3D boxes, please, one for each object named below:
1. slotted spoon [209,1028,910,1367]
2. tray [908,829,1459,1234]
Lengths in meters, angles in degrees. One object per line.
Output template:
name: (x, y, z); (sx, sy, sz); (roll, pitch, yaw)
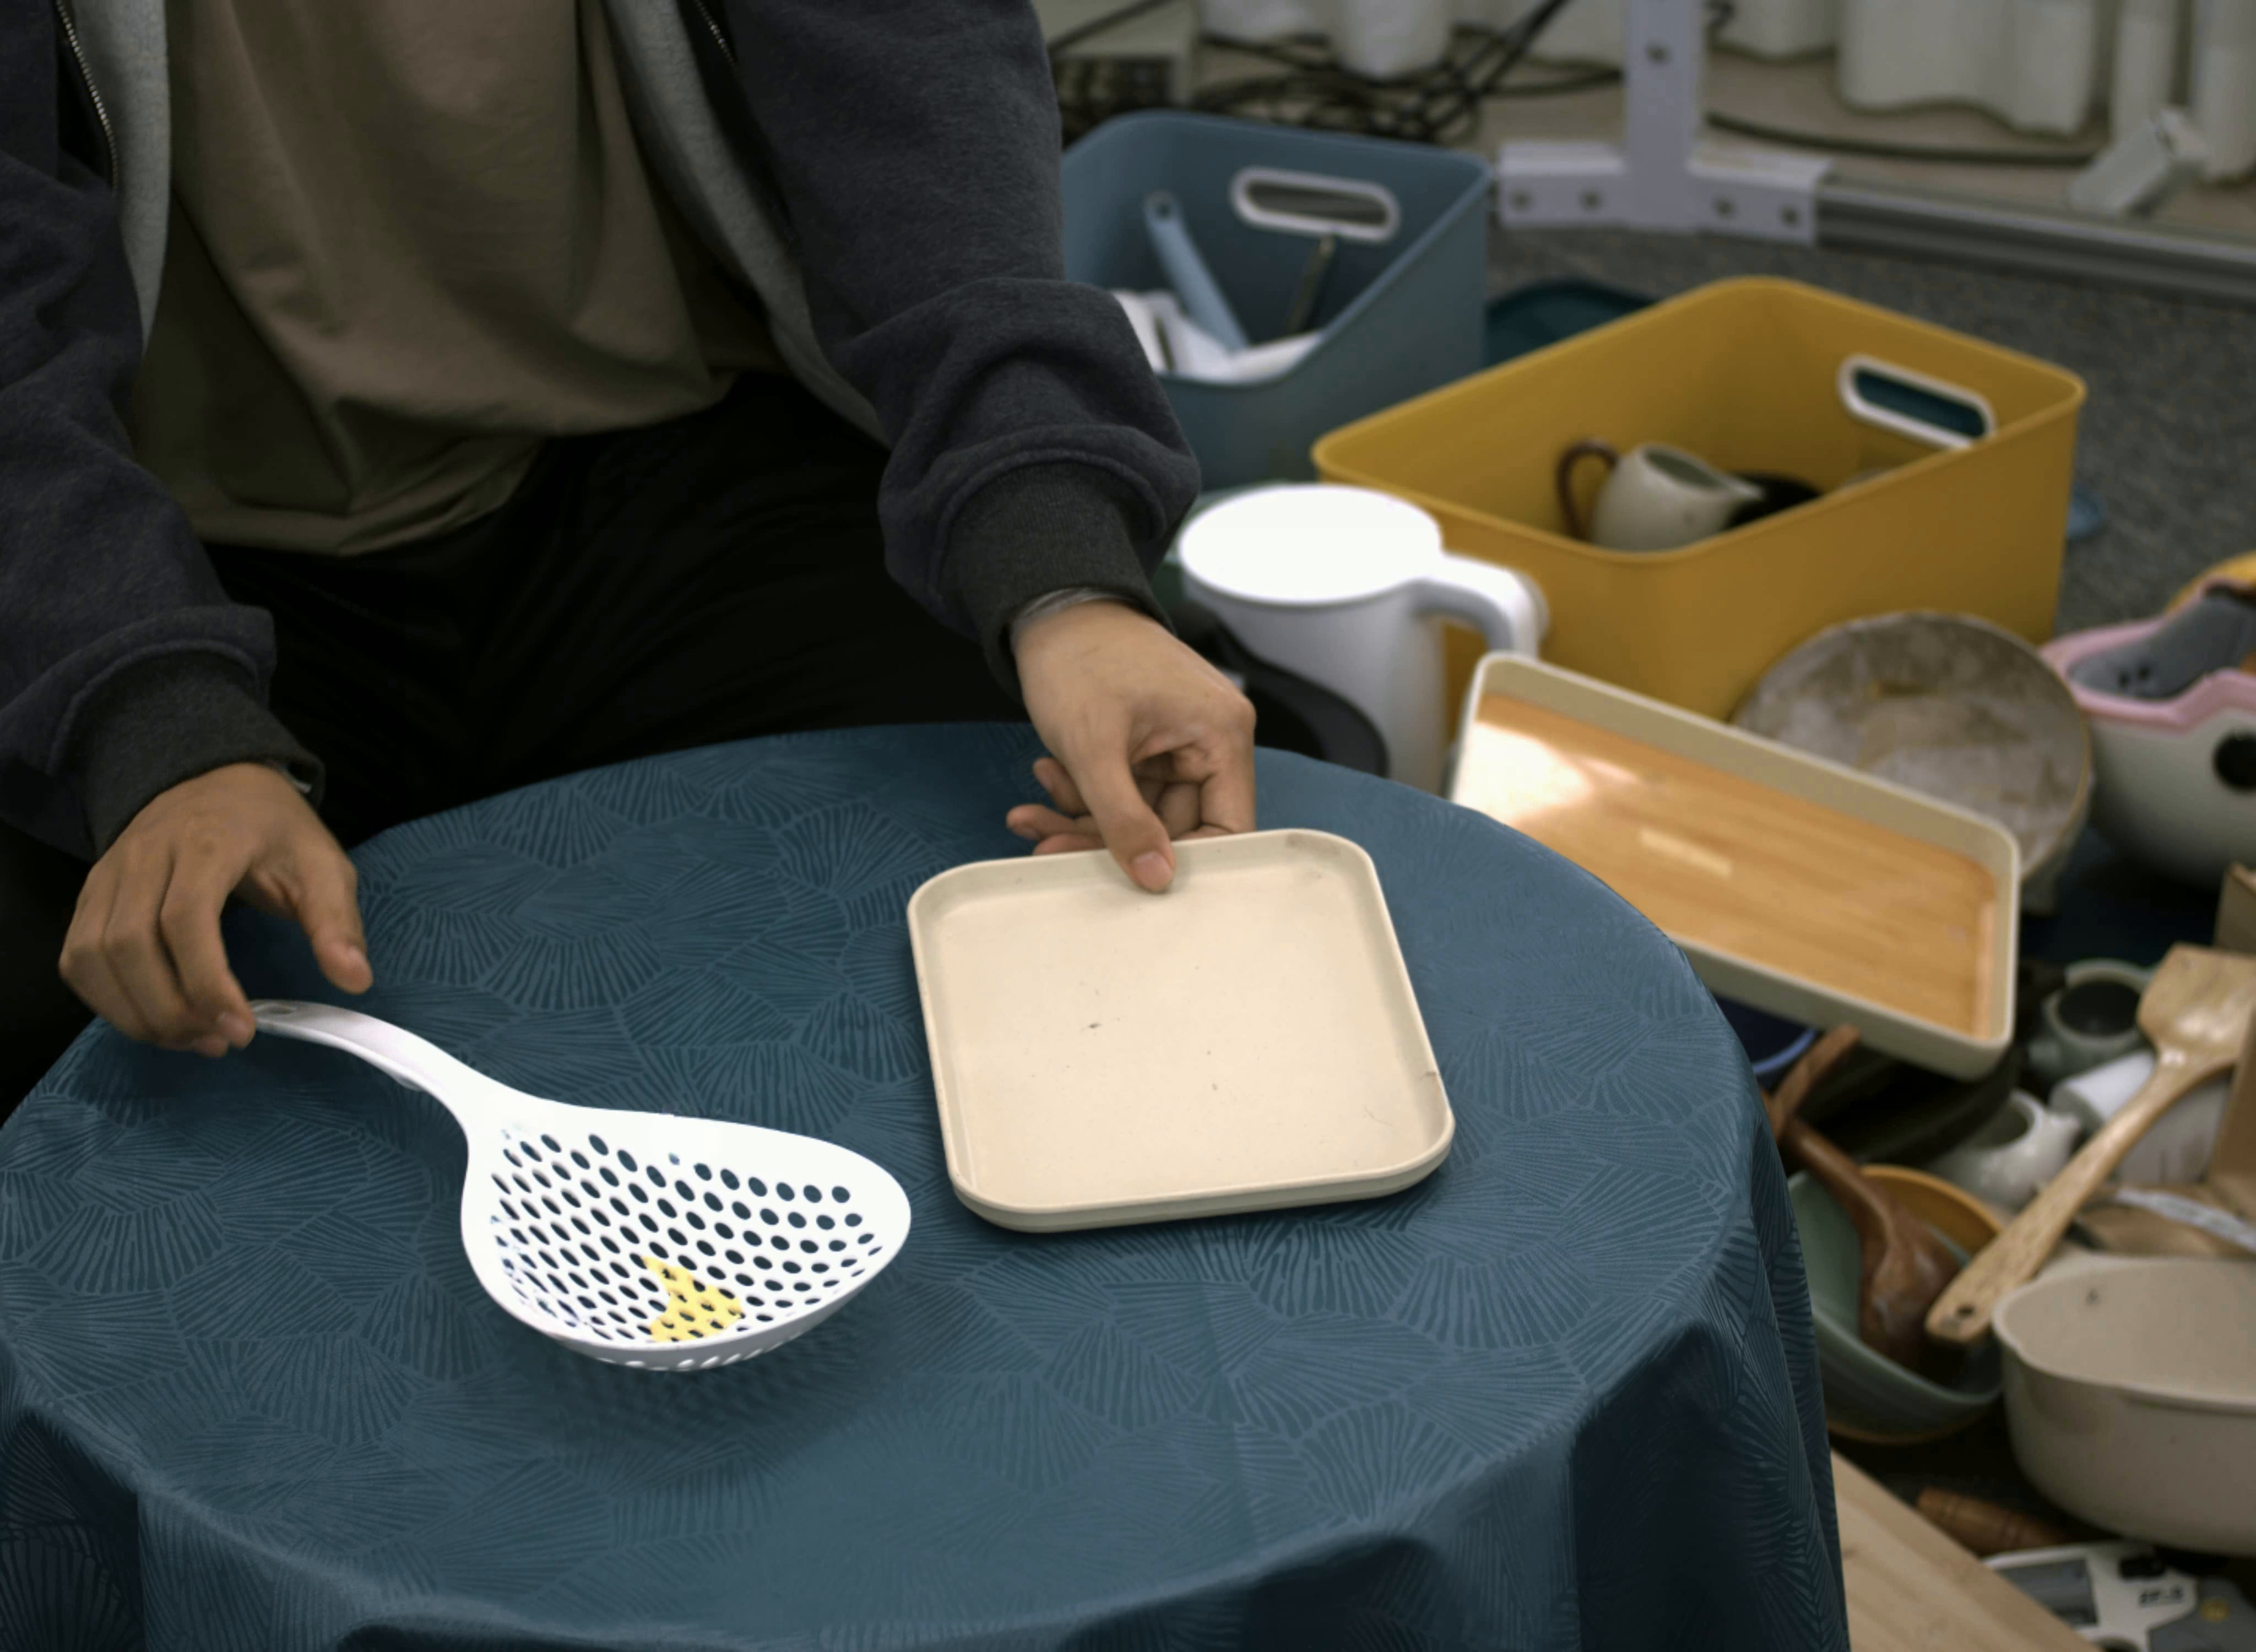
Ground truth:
slotted spoon: (-0.206, 0.108, 1.865); (0.138, 0.050, 0.348); (-27, 35, -32)
tray: (0.016, 0.070, 1.940); (0.171, 0.017, 0.243); (-6, 28, -4)
